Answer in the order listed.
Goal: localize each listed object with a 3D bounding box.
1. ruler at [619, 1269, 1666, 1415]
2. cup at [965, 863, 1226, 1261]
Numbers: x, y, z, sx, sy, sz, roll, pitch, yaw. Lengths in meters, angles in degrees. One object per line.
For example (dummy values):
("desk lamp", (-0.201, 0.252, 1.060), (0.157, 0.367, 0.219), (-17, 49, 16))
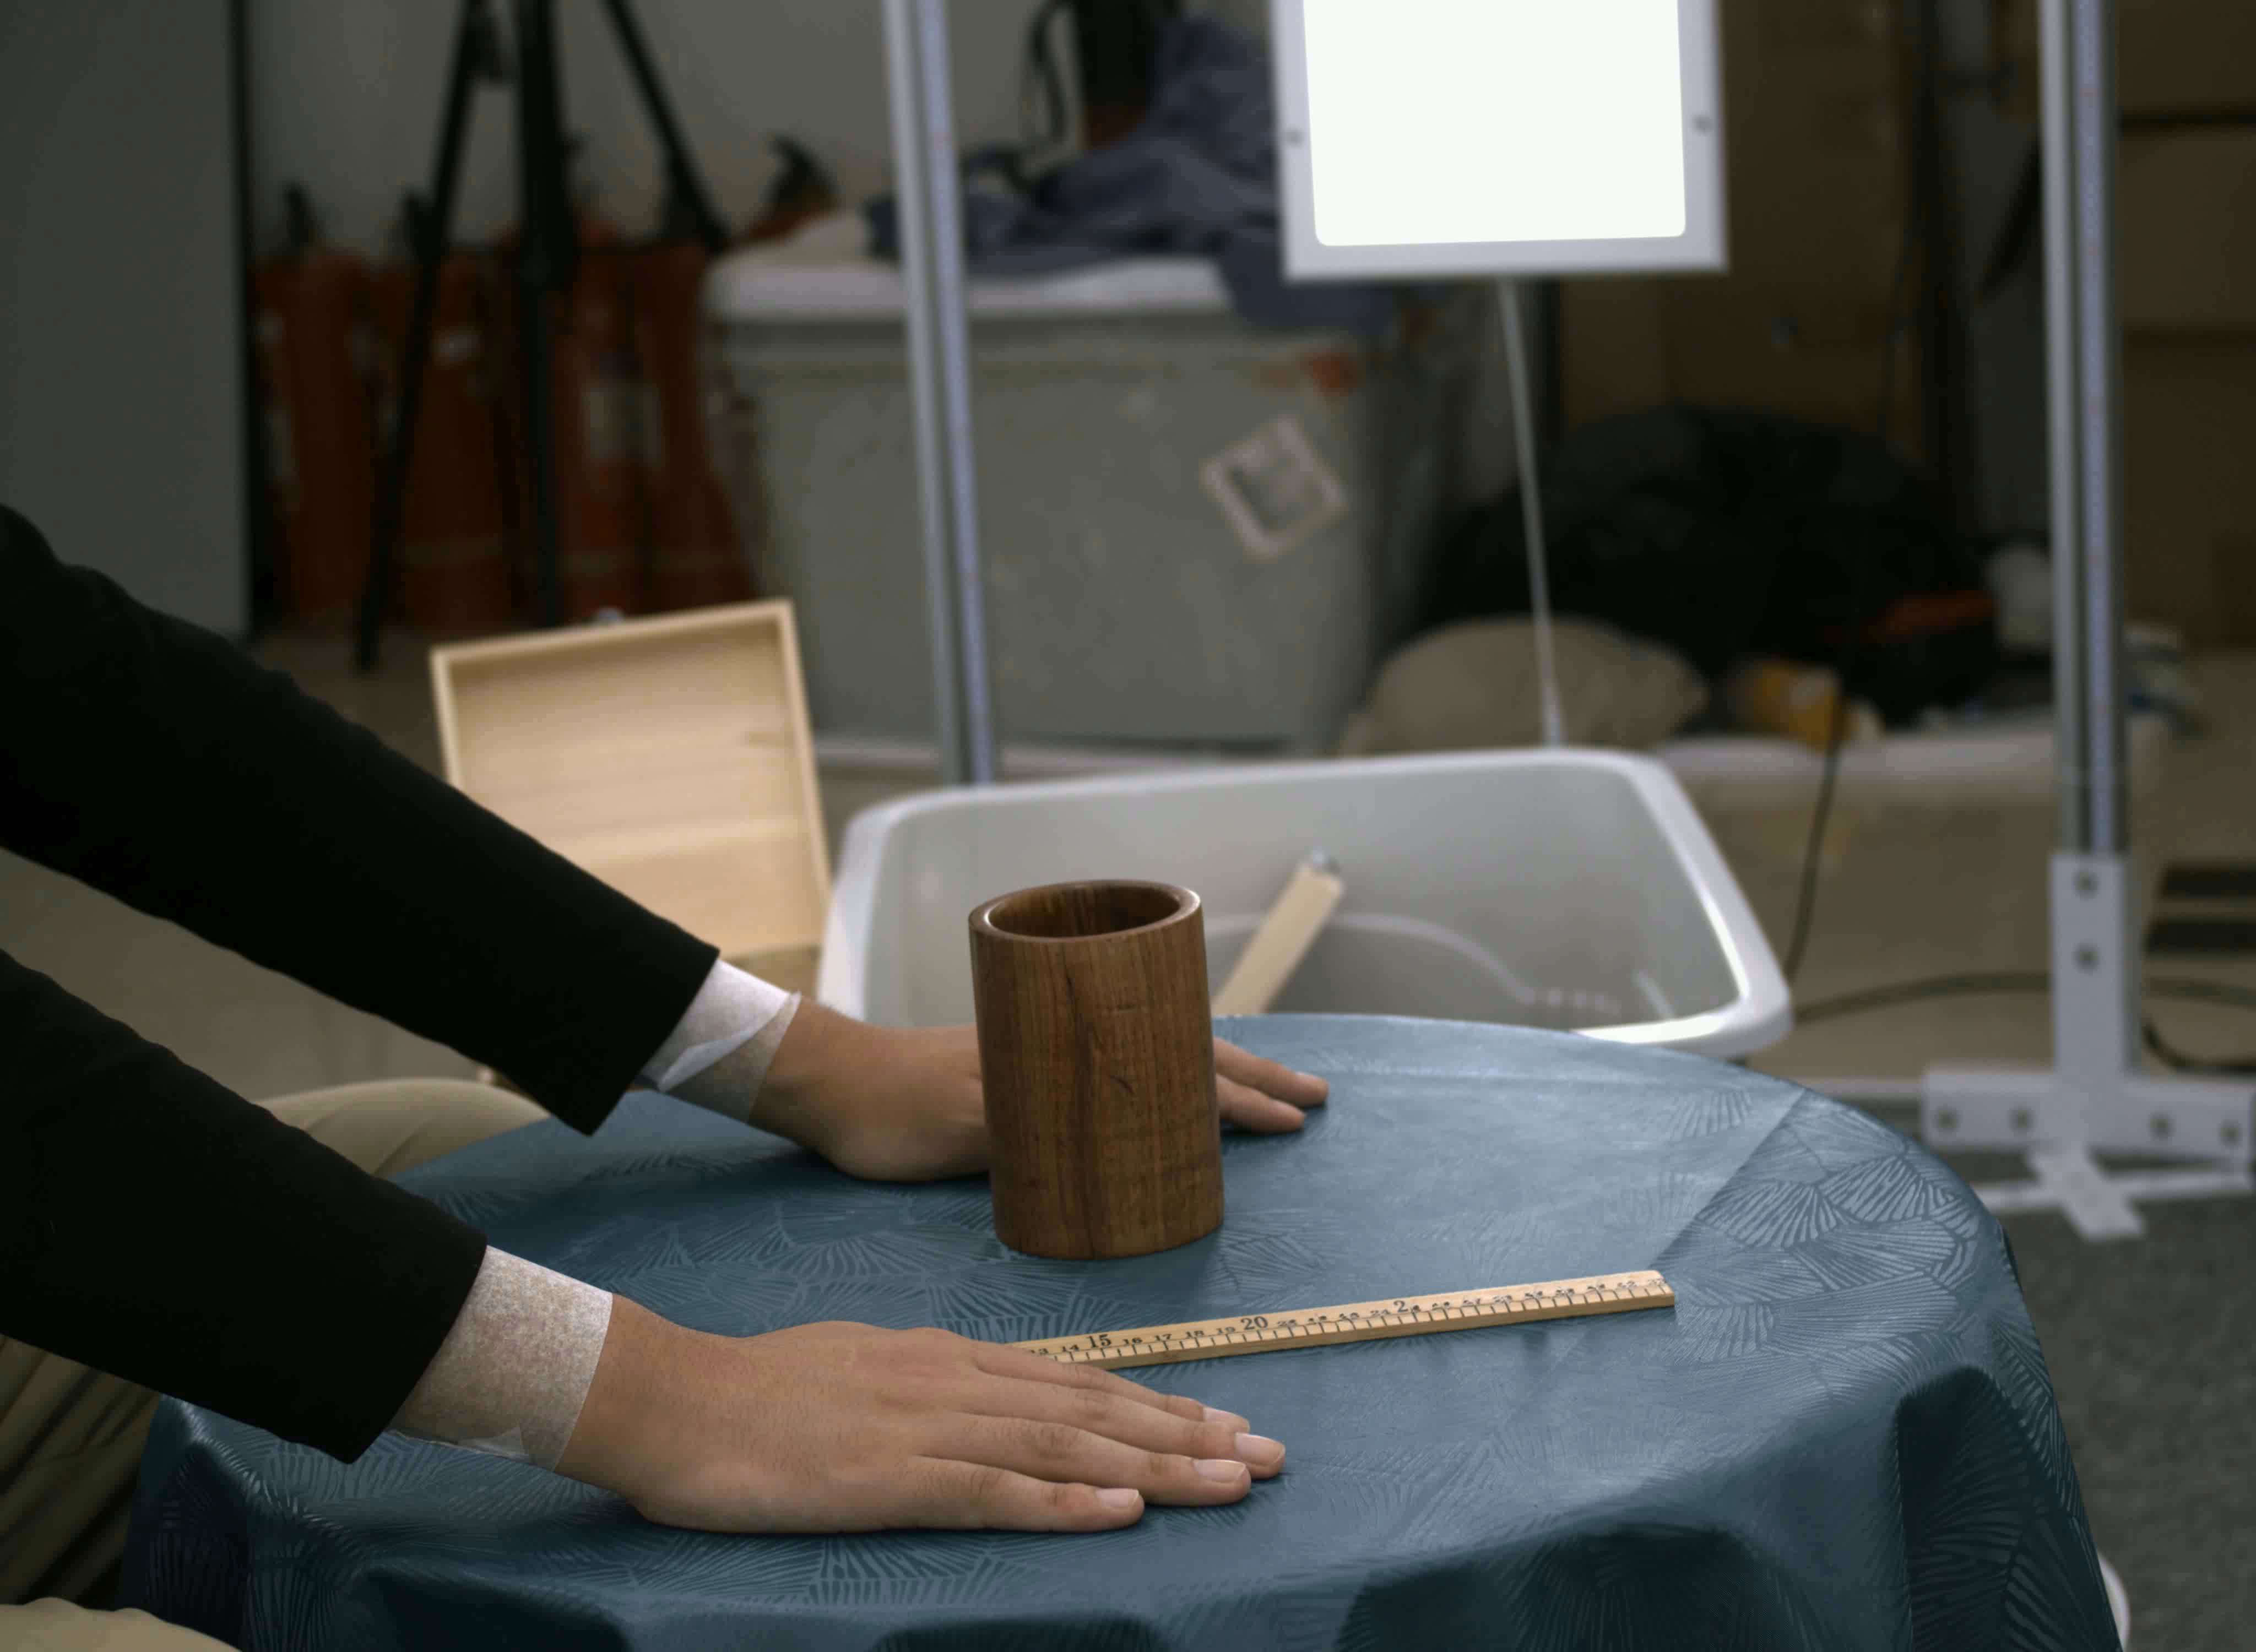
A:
("ruler", (0.005, 0.161, 1.734), (0.330, 0.022, 0.027), (-5, 9, -2))
("cup", (-0.009, 0.079, 1.852), (0.087, 0.119, 0.087), (-5, 13, 0))
